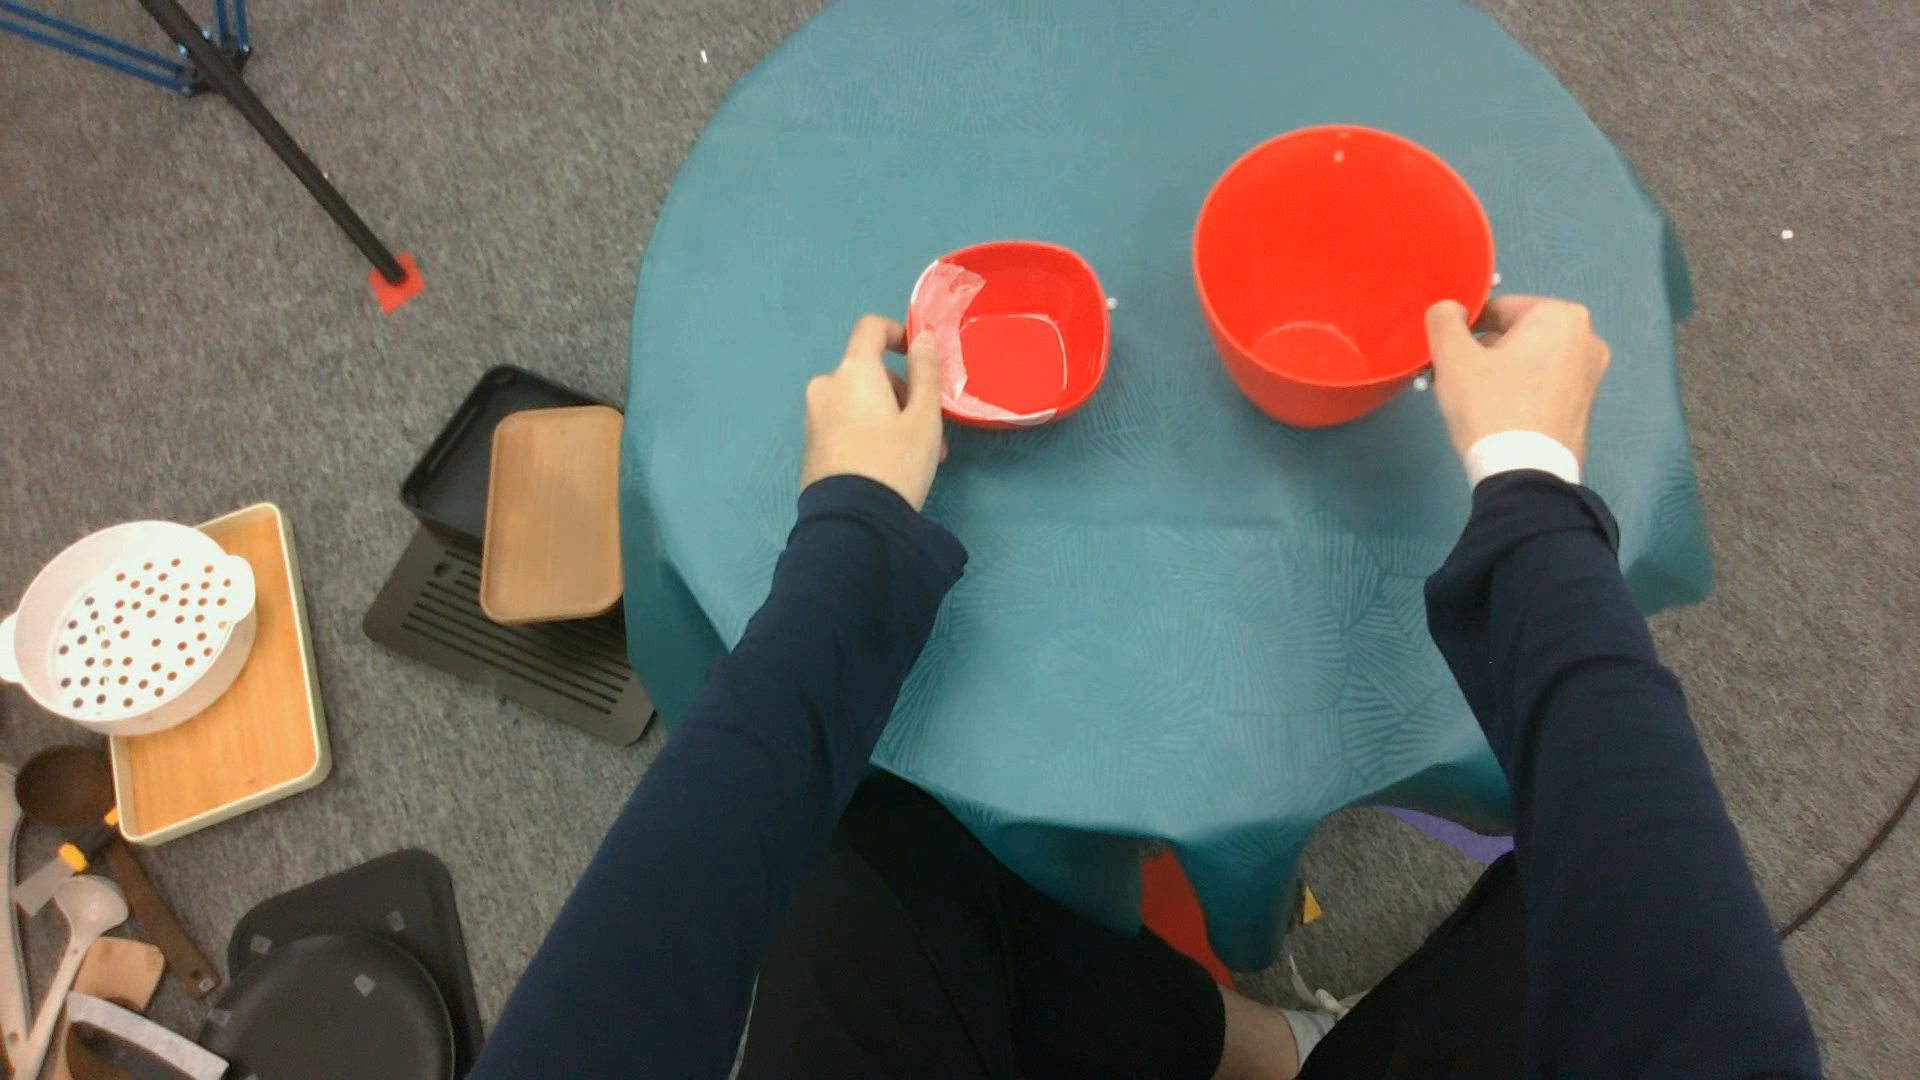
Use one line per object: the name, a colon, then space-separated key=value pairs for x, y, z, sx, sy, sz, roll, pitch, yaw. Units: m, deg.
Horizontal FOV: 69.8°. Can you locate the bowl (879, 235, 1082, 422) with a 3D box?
bowl: x=0.012 y=-0.110 z=0.770 sx=0.119 sy=0.051 sz=0.119 roll=-1 pitch=70 yaw=2

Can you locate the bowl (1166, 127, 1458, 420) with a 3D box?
bowl: x=0.180 y=-0.130 z=0.739 sx=0.148 sy=0.104 sz=0.148 roll=-1 pitch=62 yaw=1
